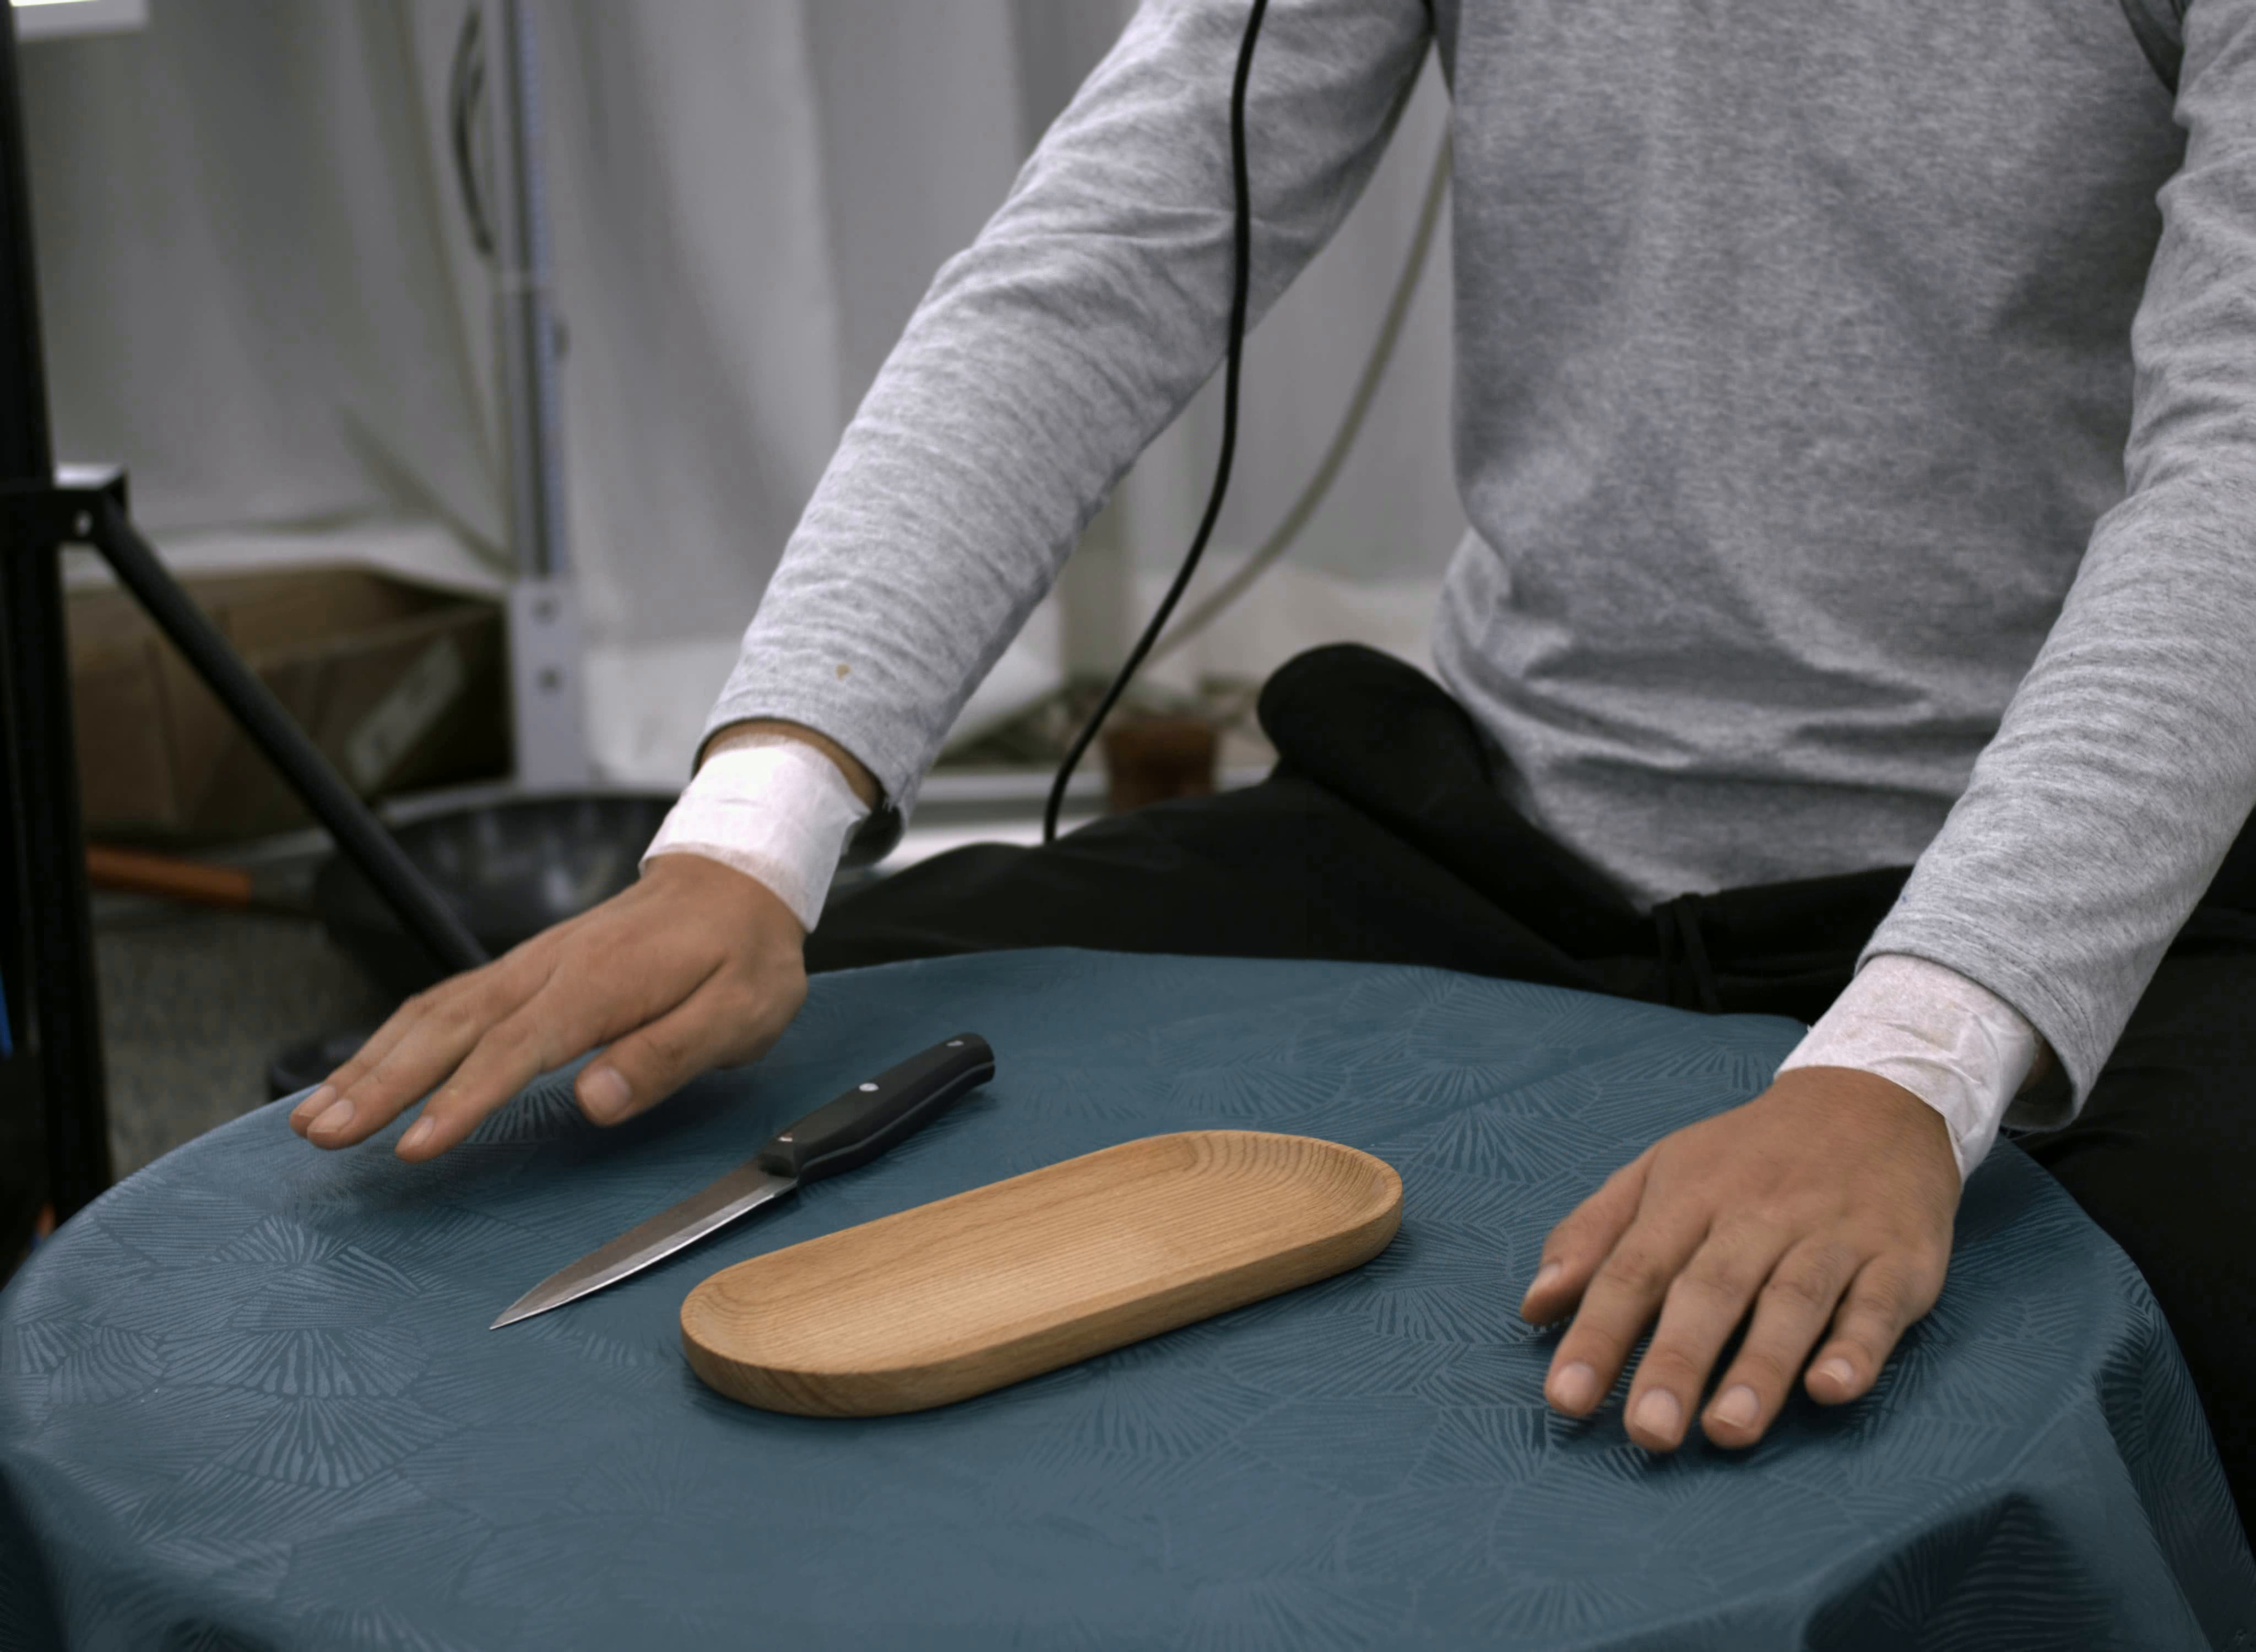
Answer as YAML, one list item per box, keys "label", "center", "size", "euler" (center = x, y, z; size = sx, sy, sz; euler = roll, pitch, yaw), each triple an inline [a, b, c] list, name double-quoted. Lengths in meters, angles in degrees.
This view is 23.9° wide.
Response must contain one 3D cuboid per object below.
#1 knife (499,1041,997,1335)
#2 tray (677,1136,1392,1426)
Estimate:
- label: "knife"
  center: [-0.111, 0.106, 1.567]
  size: [0.025, 0.016, 0.234]
  euler: [10, 23, 32]
- label: "tray"
  center: [-0.023, 0.125, 1.477]
  size: [0.226, 0.020, 0.104]
  euler: [-17, 20, -38]
